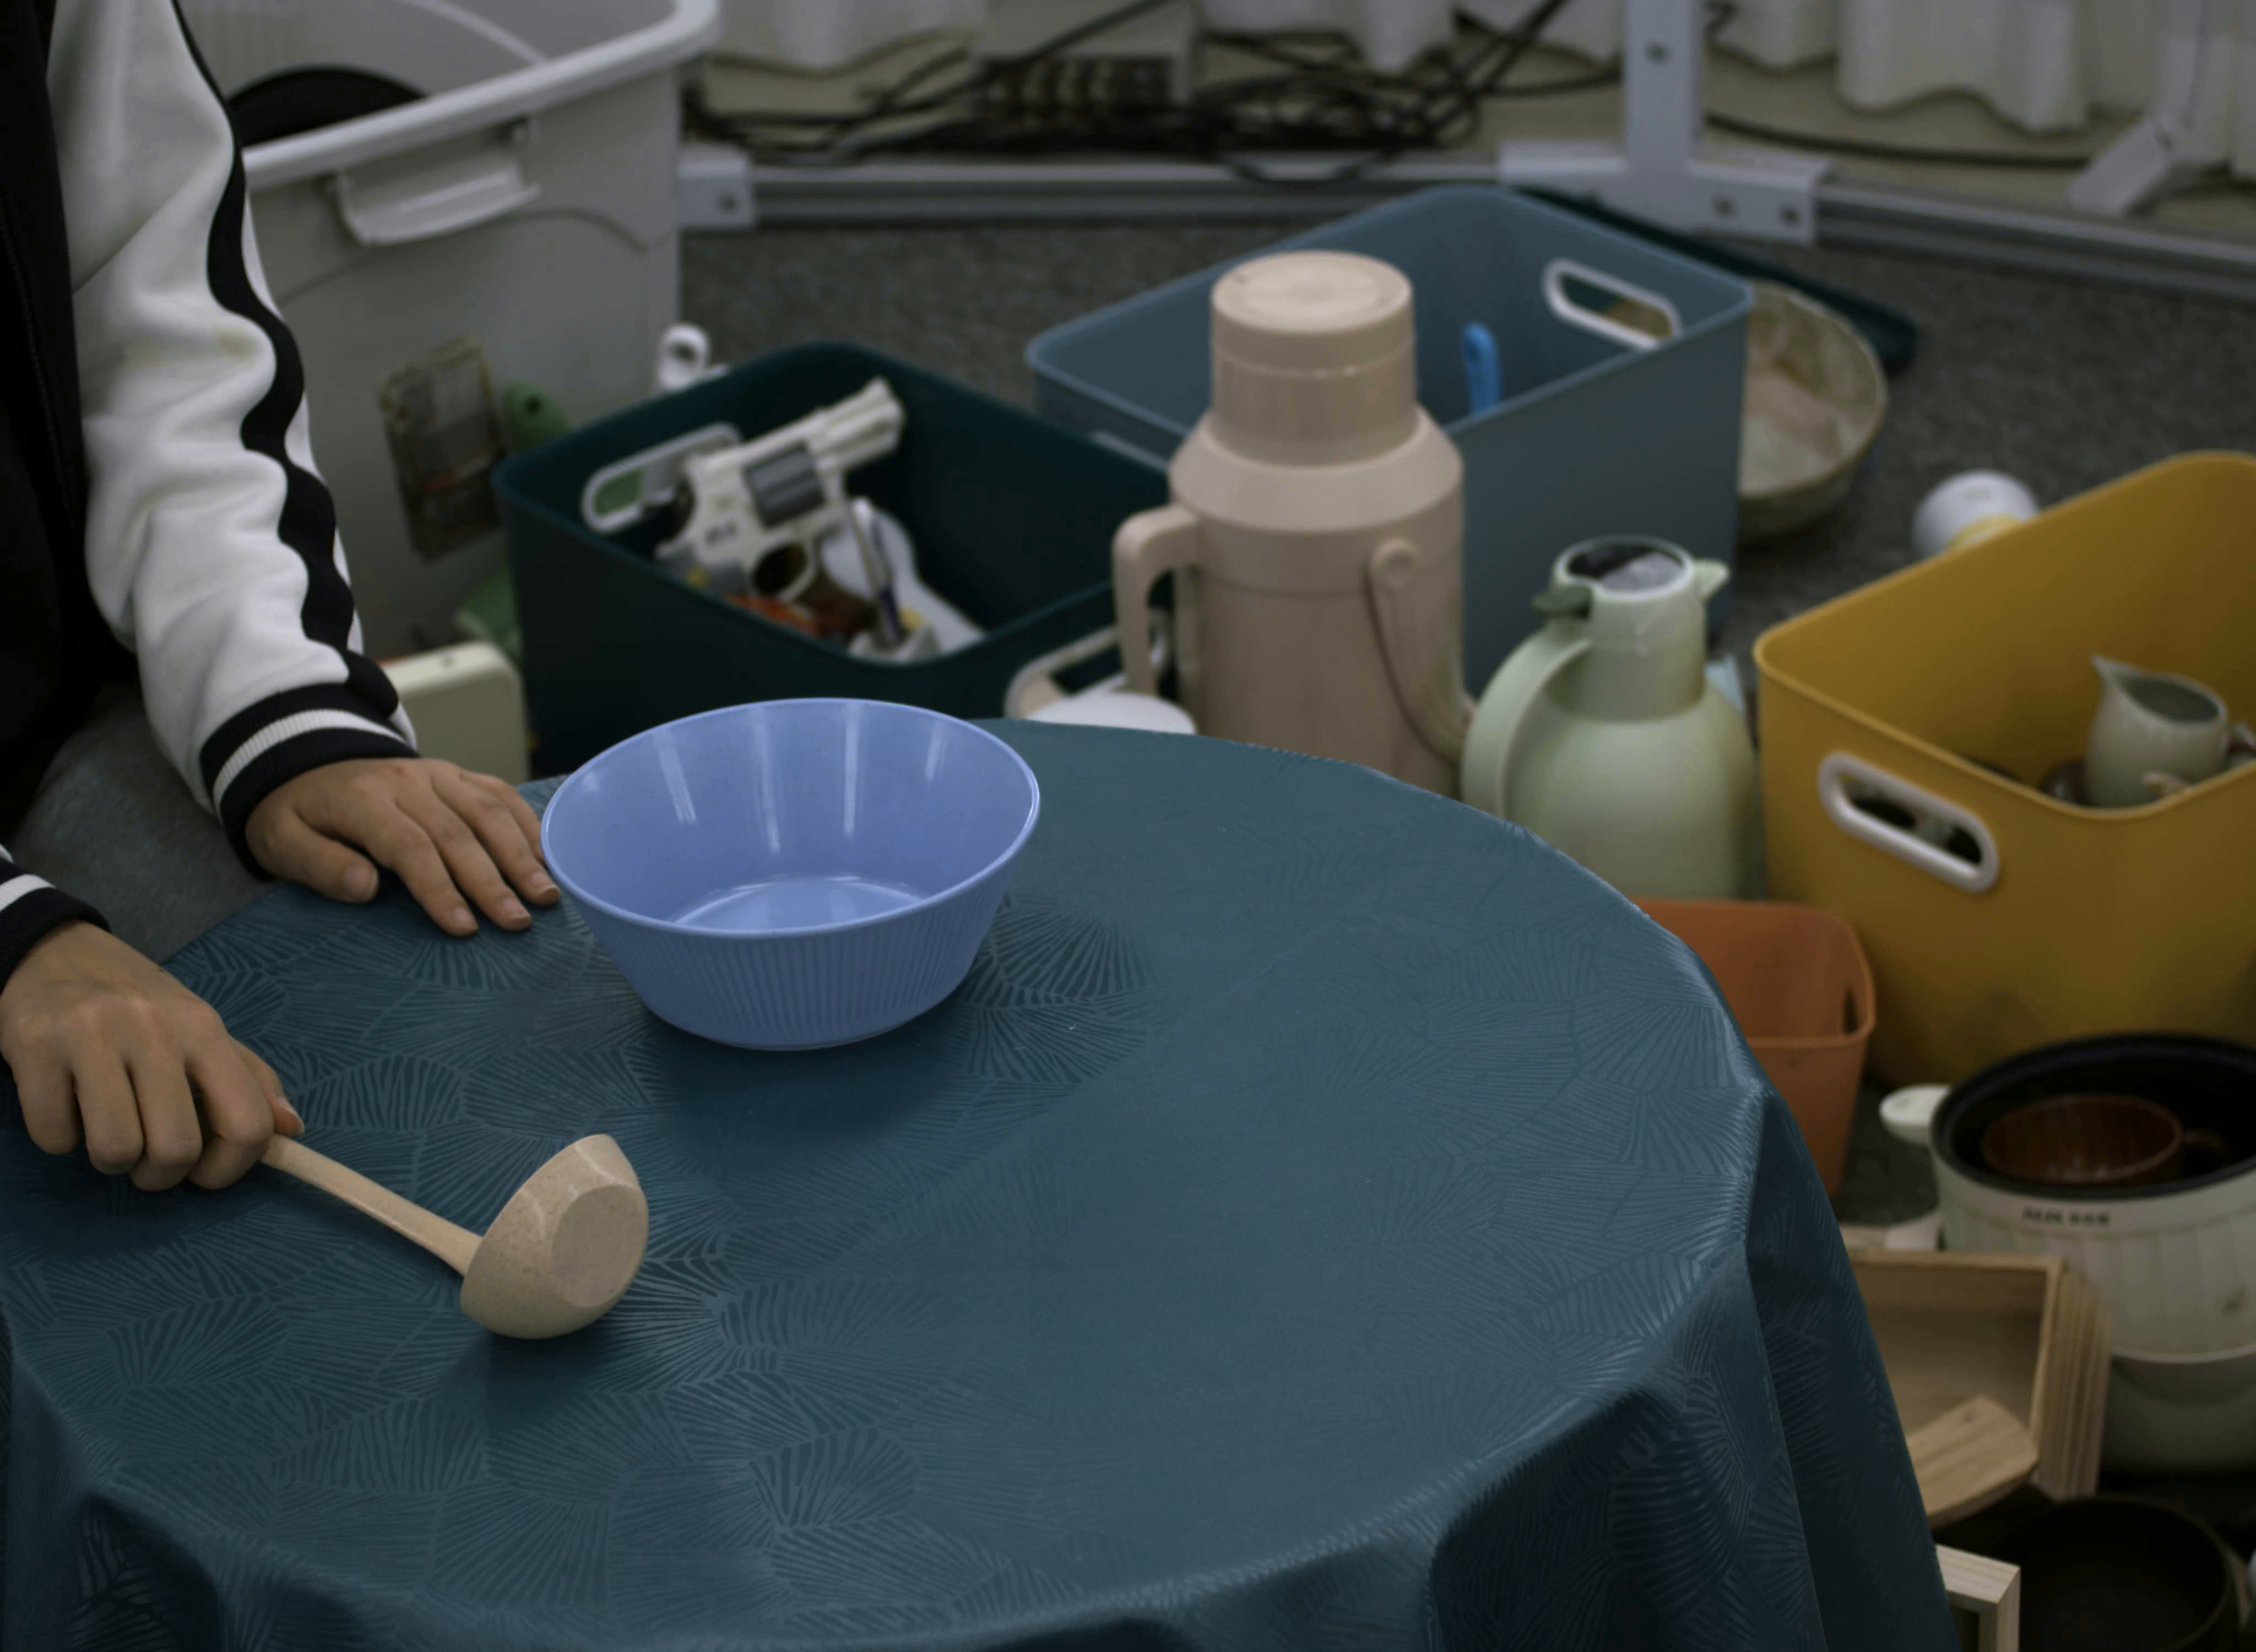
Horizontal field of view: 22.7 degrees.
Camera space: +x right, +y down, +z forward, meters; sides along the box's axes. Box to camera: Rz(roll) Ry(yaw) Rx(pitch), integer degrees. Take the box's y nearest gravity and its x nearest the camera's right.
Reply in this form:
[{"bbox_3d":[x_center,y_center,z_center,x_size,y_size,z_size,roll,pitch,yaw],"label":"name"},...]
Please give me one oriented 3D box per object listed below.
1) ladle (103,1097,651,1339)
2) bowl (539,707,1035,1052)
[{"bbox_3d":[-0.260,0.103,1.845,0.253,0.072,0.073,18,45,36],"label":"ladle"},{"bbox_3d":[-0.118,0.024,1.985,0.175,0.069,0.179,-2,27,1],"label":"bowl"}]
